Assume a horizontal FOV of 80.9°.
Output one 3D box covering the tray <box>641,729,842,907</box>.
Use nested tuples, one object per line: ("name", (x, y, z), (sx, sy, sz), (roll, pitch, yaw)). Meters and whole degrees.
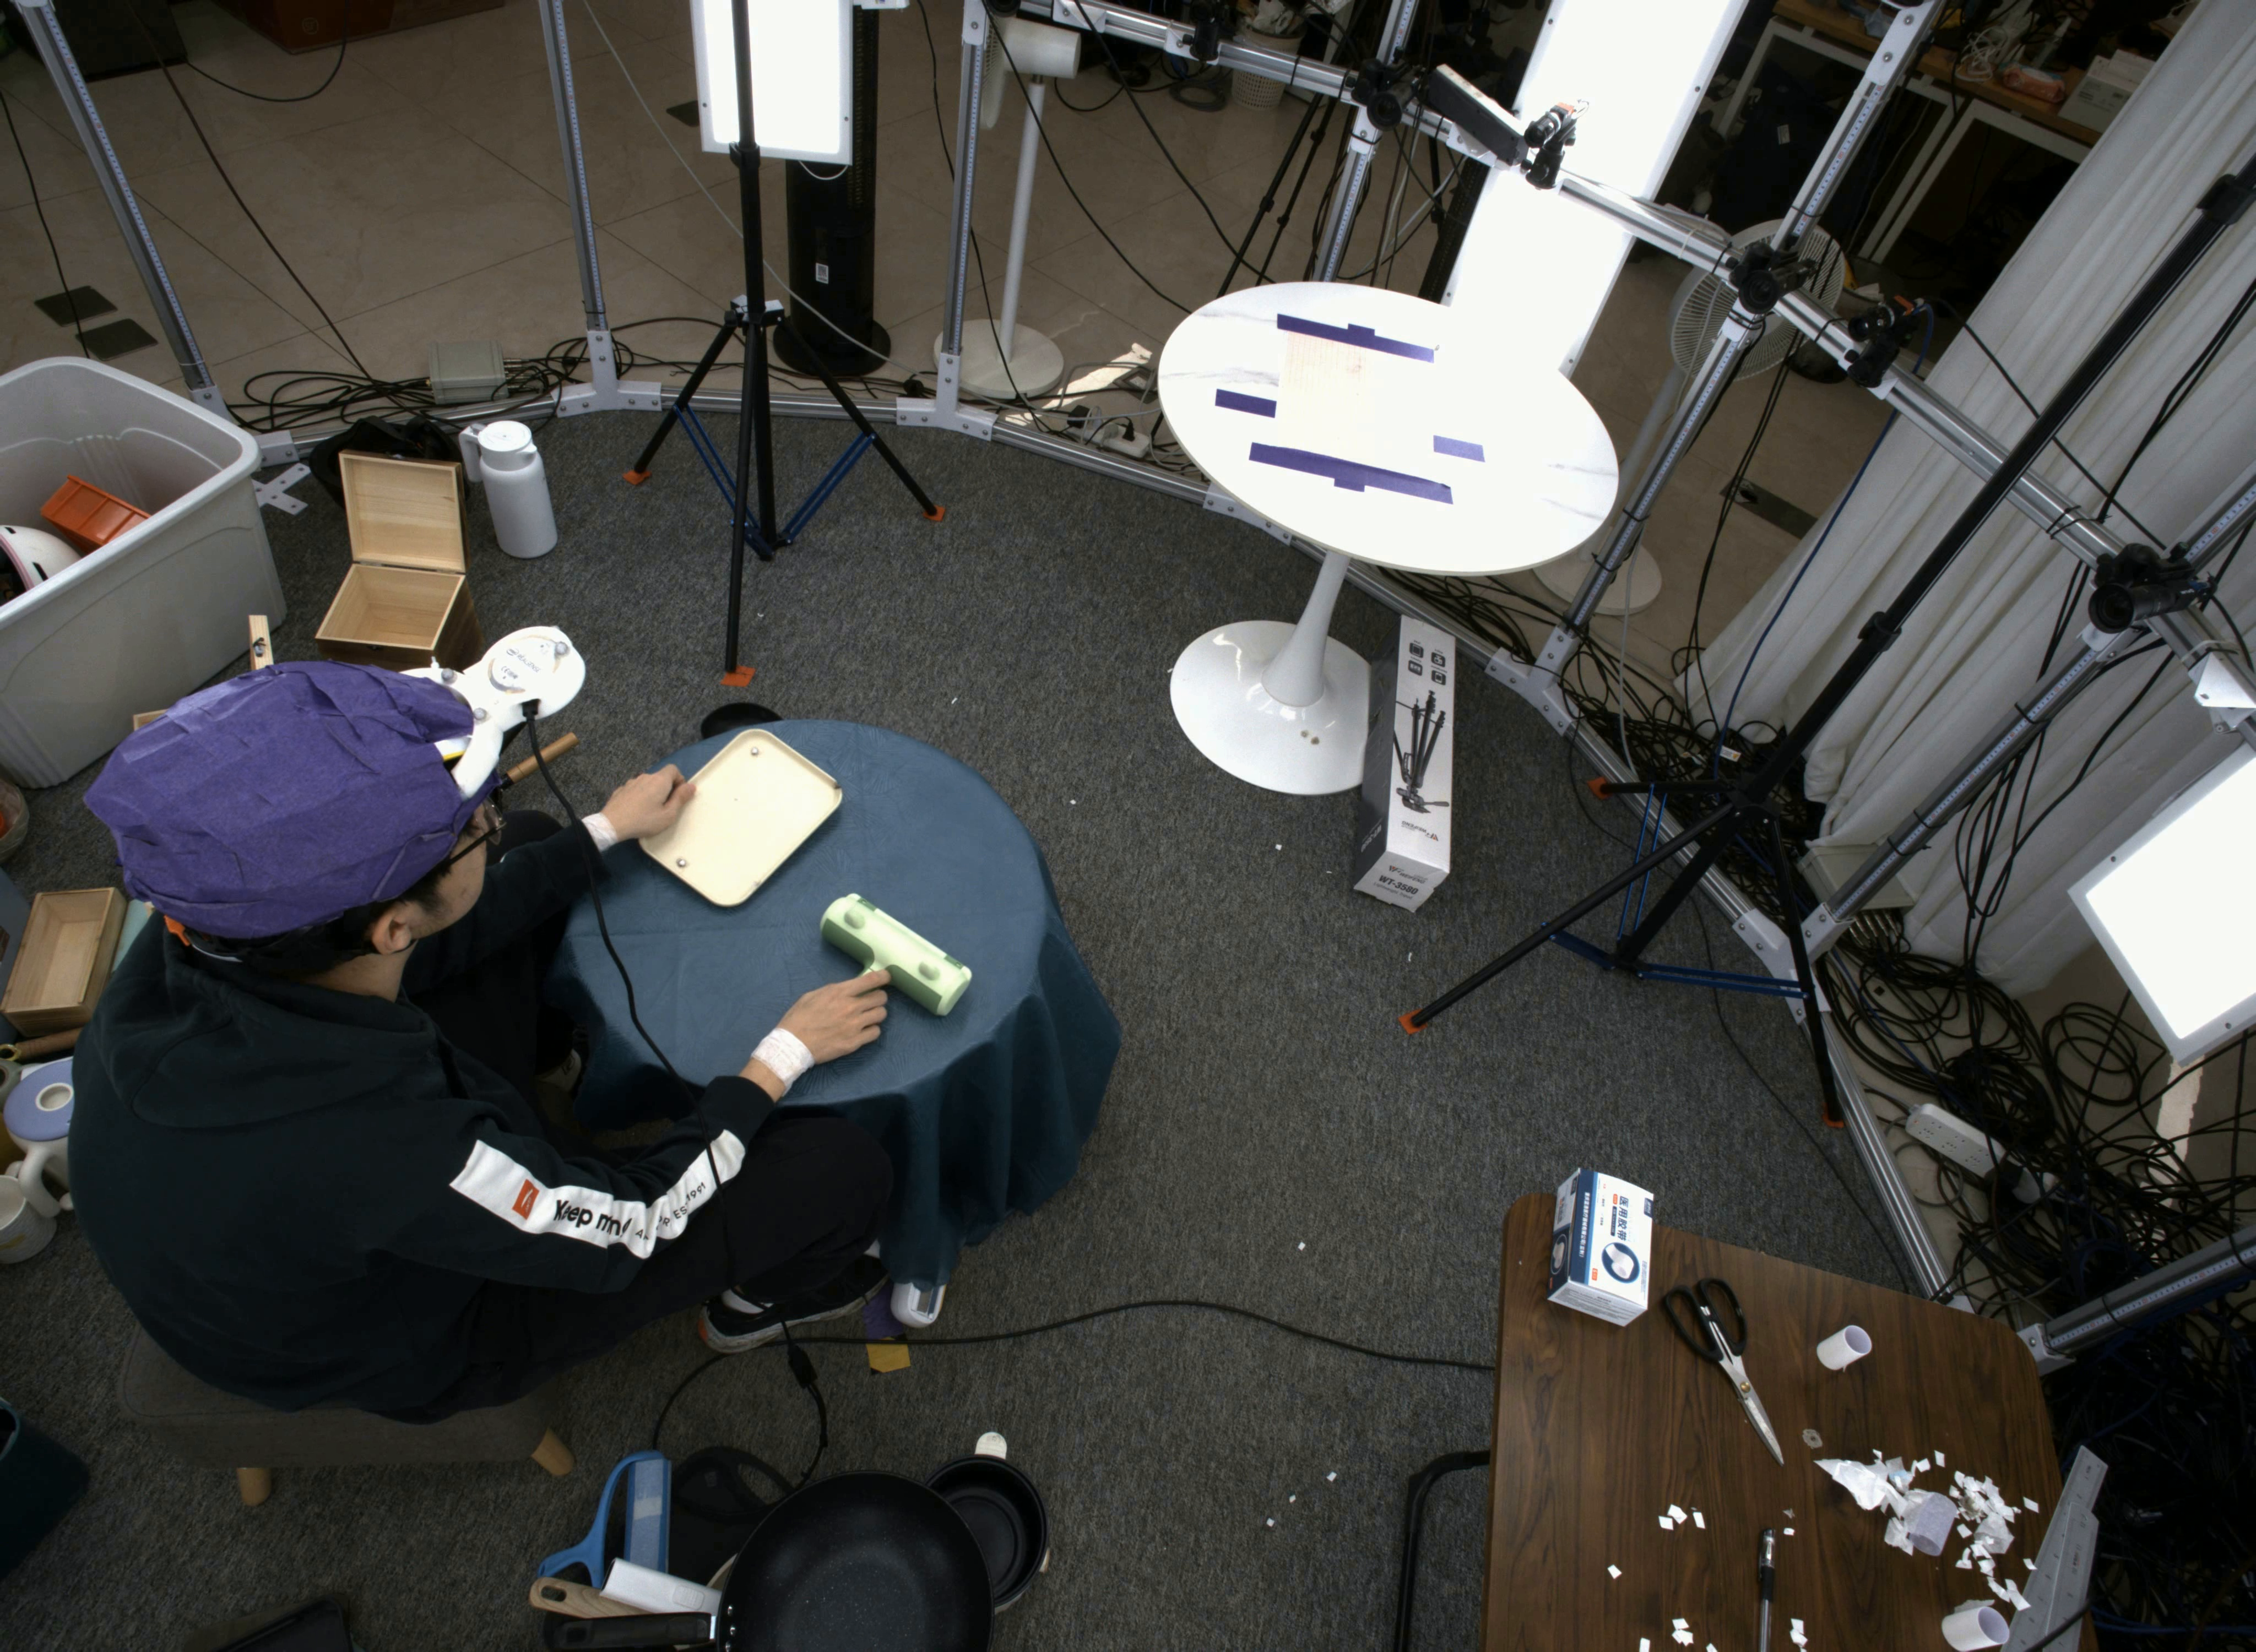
("tray", (-0.503, -0.013, 1.689), (0.169, 0.018, 0.239), (35, 57, 4))

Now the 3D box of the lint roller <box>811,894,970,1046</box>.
("lint roller", (-0.319, 0.184, 1.571), (0.195, 0.084, 0.183), (33, 49, 11))
